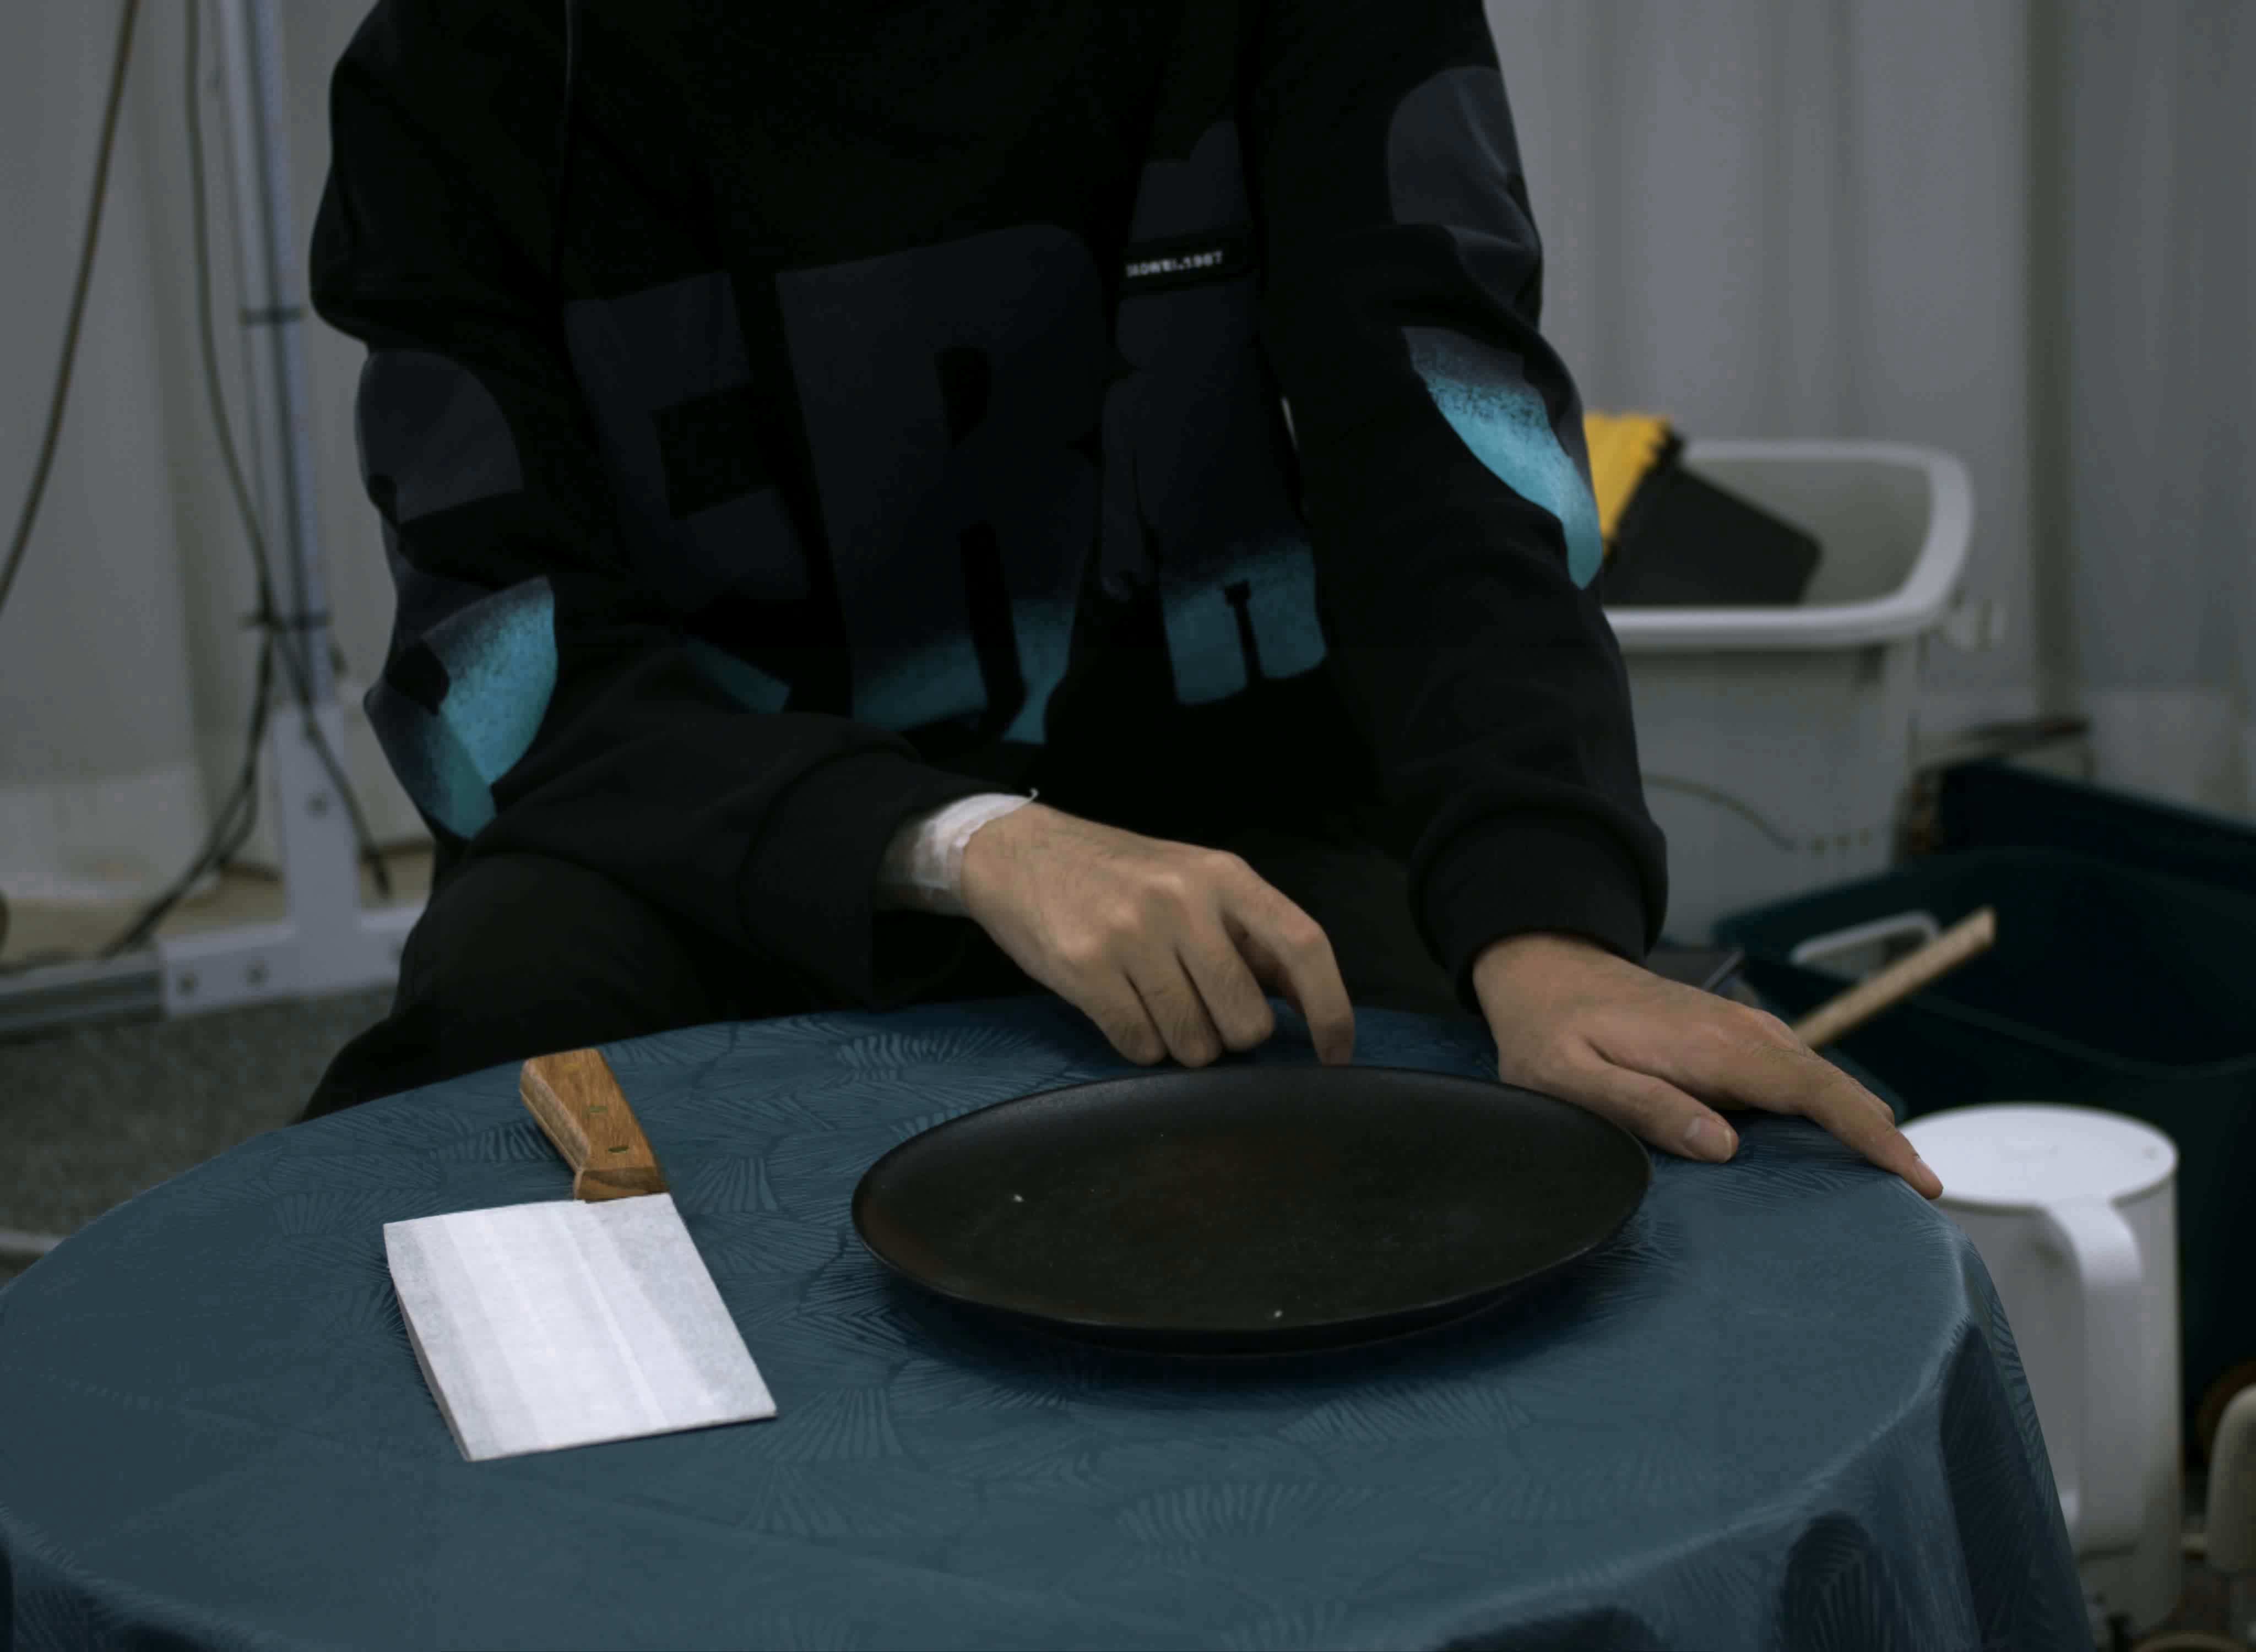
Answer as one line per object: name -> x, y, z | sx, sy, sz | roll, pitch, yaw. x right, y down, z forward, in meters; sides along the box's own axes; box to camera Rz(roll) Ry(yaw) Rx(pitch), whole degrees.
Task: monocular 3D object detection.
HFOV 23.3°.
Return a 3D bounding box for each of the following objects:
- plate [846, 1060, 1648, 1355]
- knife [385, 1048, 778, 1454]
plate -> 0.036, 0.118, 1.651 | 0.243, 0.023, 0.246 | -3, 15, 1
knife -> -0.177, 0.129, 1.670 | 0.092, 0.021, 0.308 | -8, 18, -13
